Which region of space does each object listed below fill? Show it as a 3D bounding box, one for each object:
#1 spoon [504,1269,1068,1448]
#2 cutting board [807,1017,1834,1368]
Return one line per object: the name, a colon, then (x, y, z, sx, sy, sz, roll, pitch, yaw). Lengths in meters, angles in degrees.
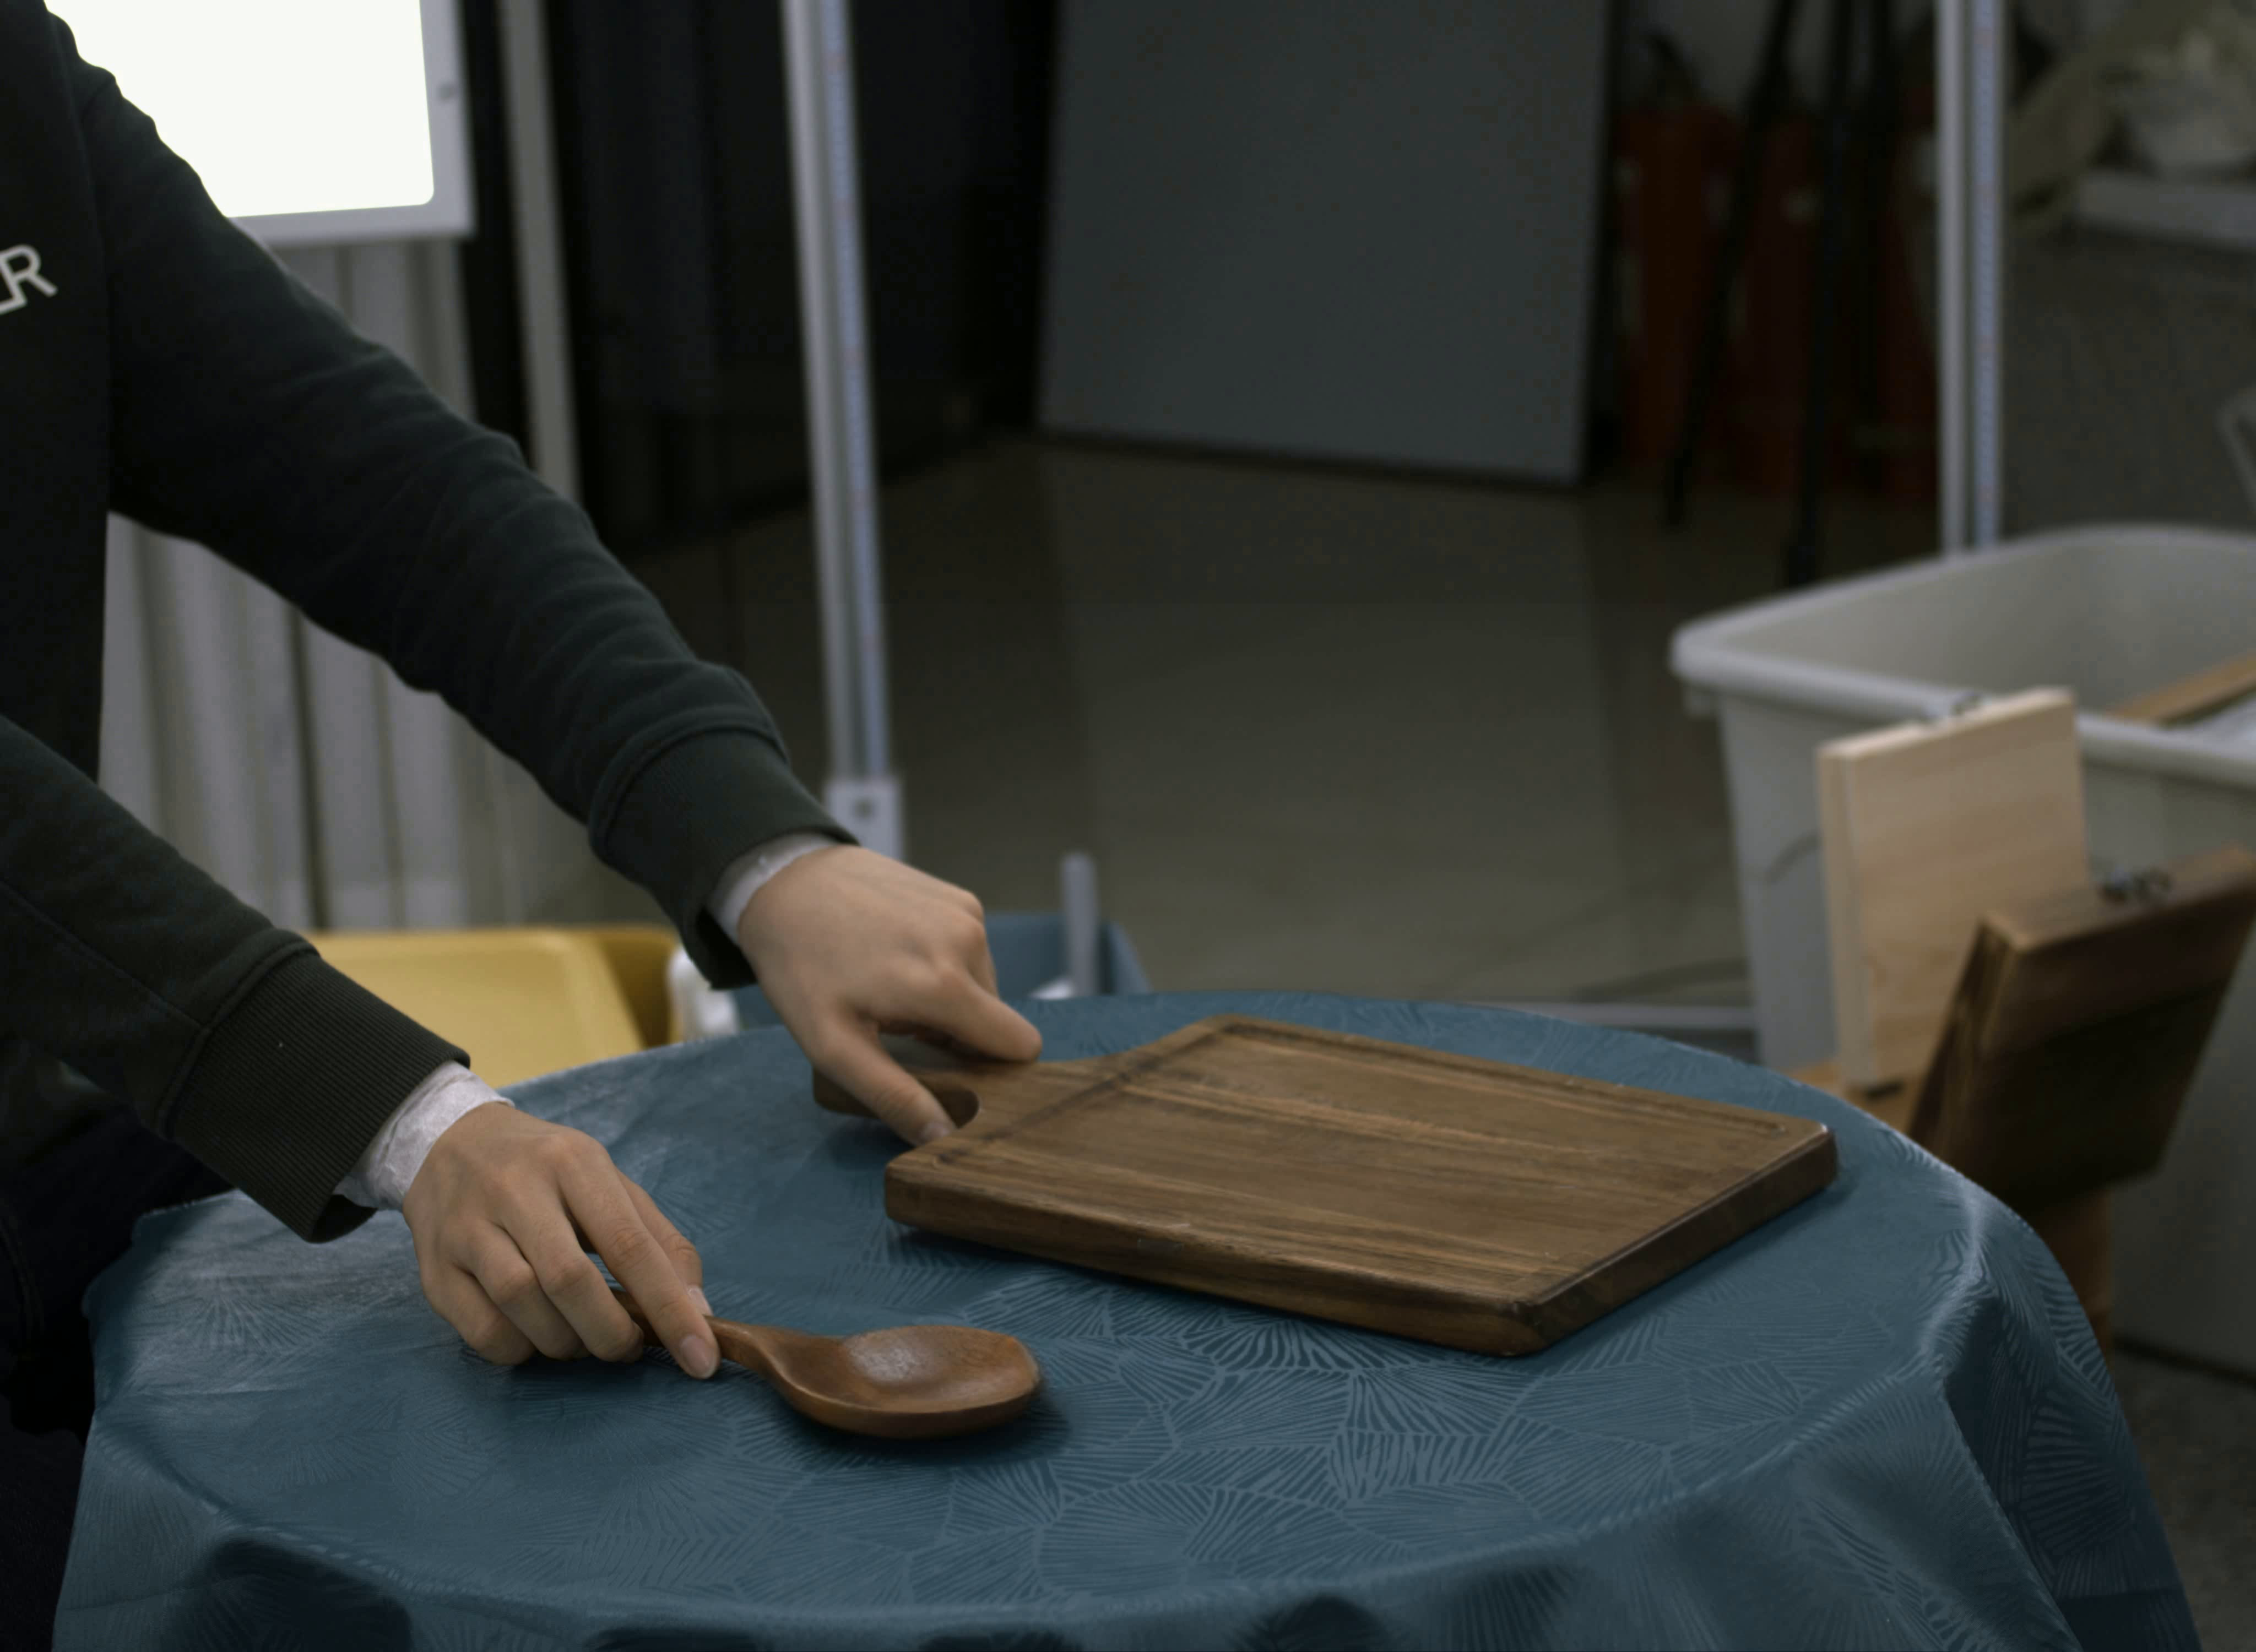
spoon: (-0.107, 0.158, 1.616, 0.217, 0.017, 0.074, 9, 21, 40)
cutting board: (0.036, 0.107, 1.762, 0.354, 0.023, 0.197, 8, 20, 37)
